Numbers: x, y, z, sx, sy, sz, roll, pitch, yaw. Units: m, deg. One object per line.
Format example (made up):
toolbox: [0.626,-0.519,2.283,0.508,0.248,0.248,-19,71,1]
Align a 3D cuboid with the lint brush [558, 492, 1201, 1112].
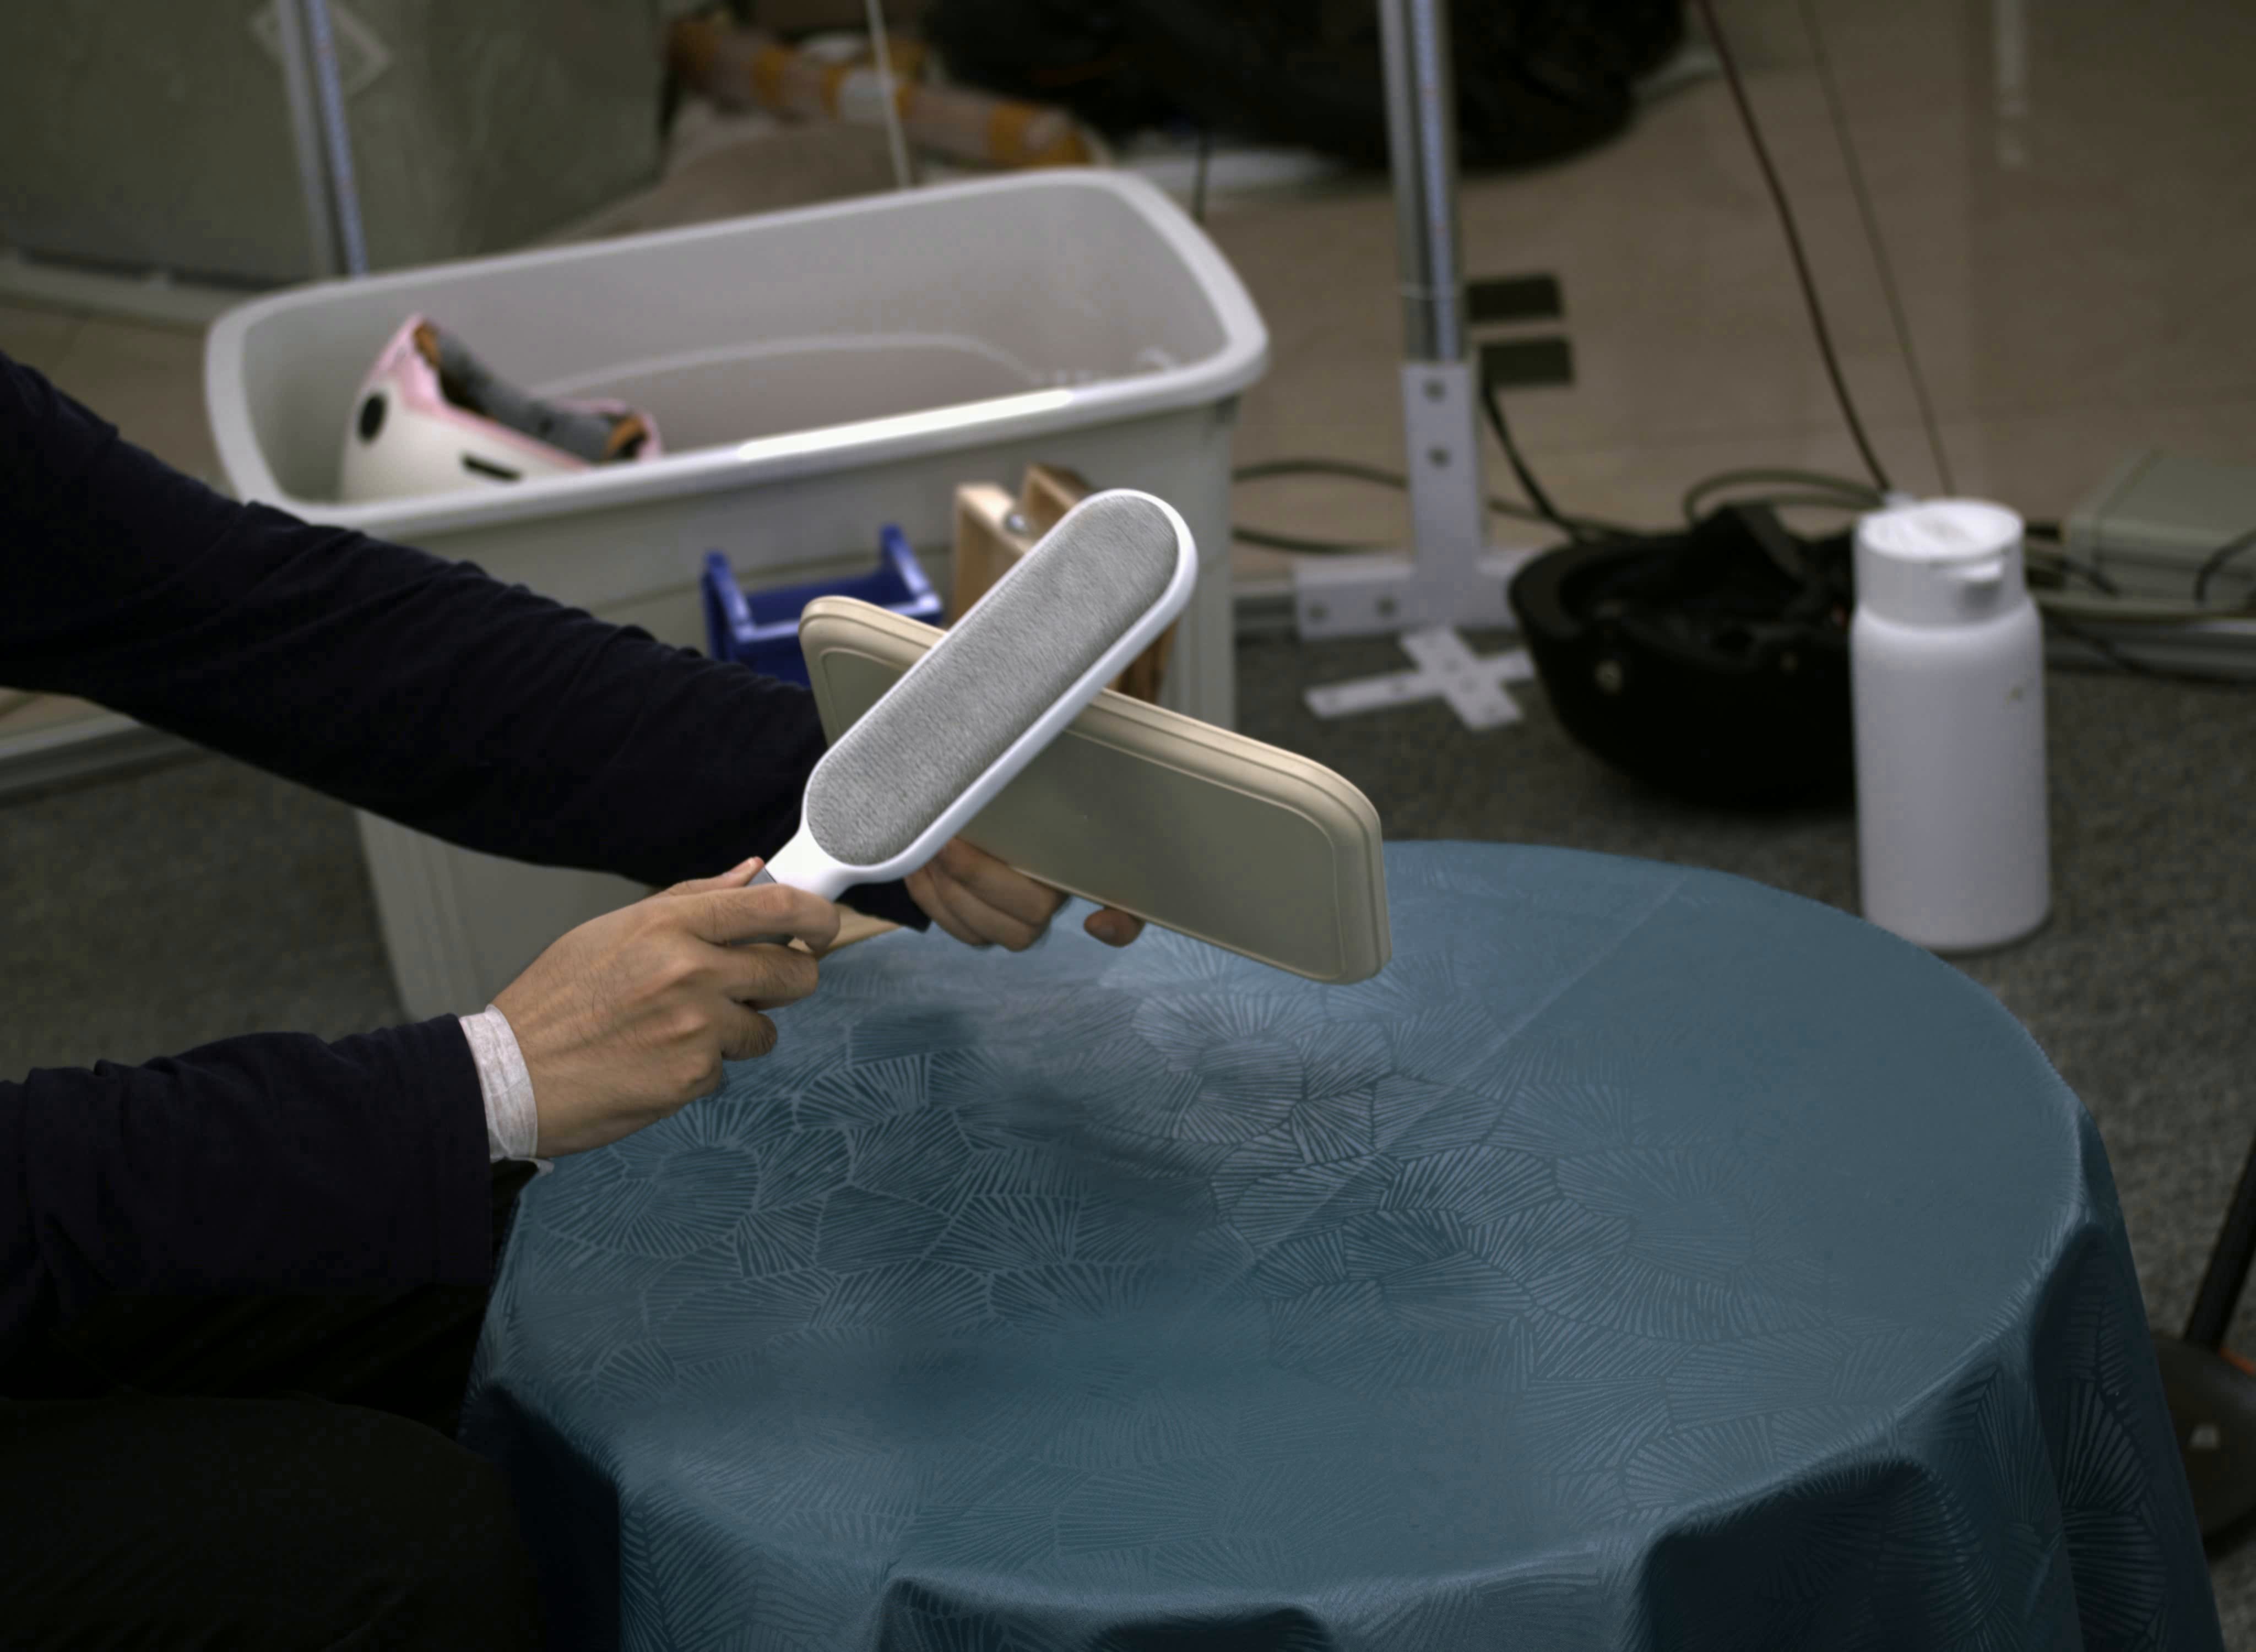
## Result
lint brush: [-0.093,-0.007,2.053,0.309,0.021,0.059,-44,70,5]

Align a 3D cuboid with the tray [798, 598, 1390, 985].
tray: [-0.014,-0.009,2.165,0.238,0.174,0.017,20,67,14]
